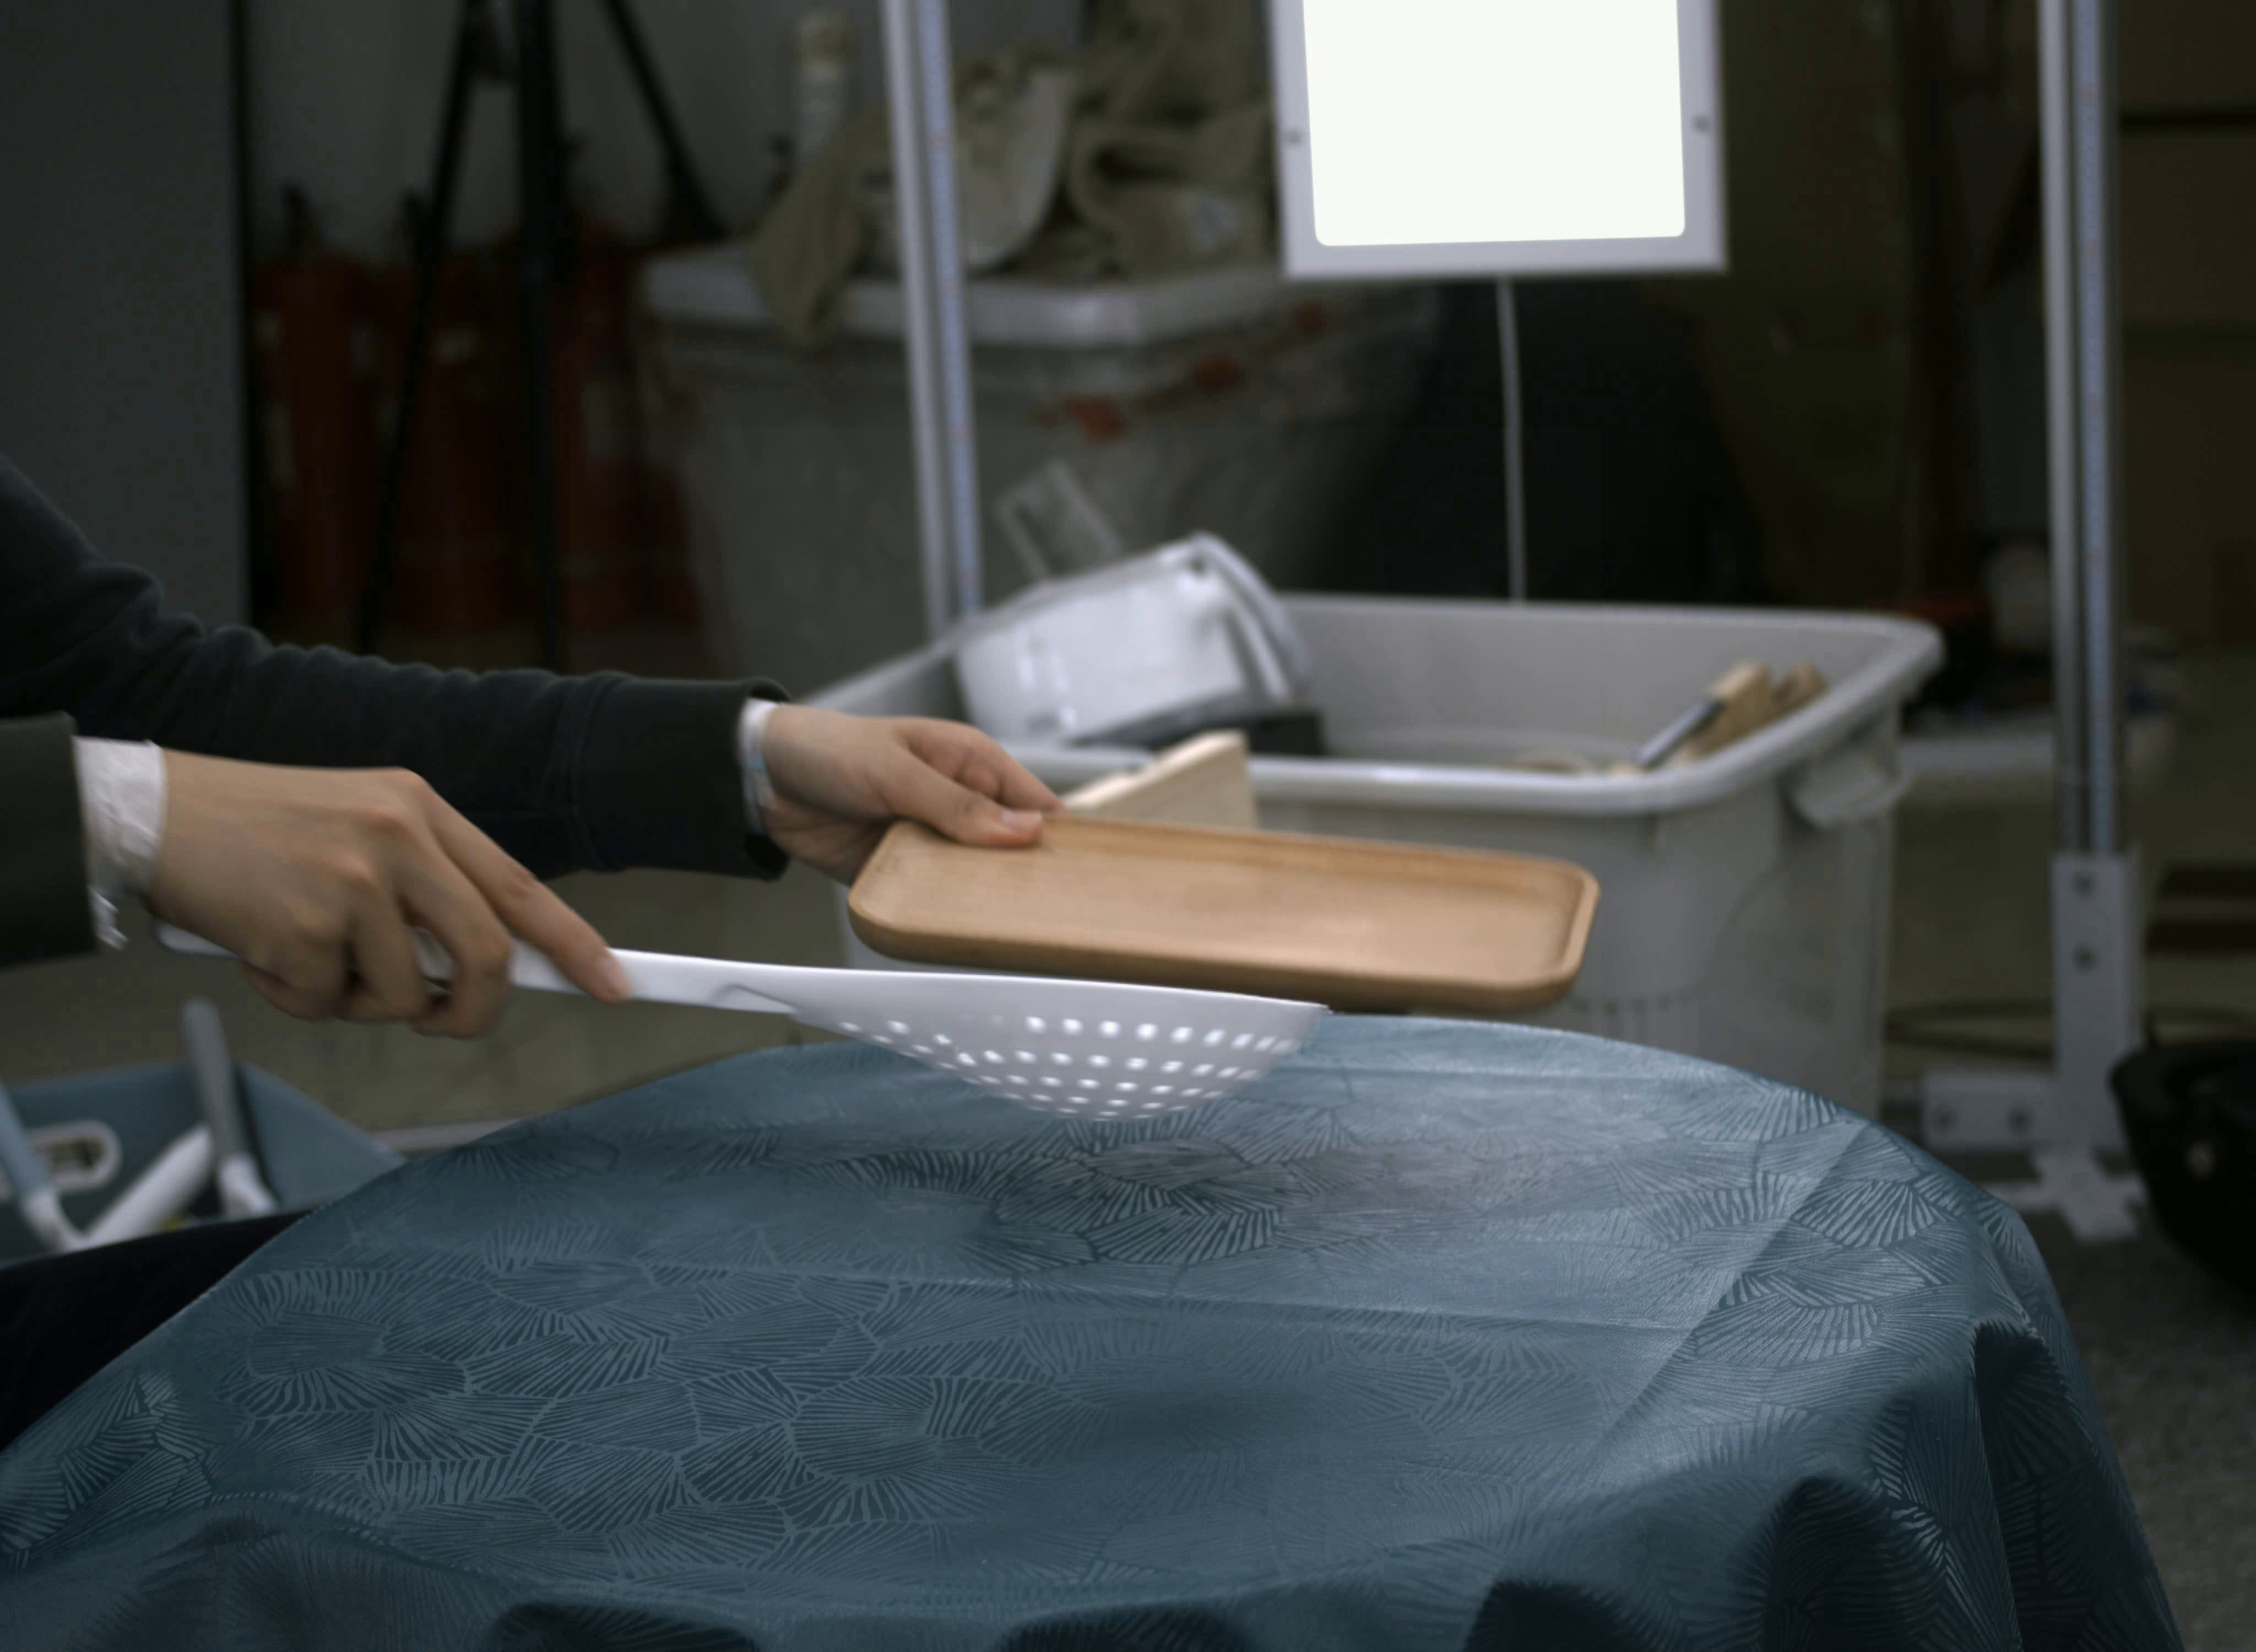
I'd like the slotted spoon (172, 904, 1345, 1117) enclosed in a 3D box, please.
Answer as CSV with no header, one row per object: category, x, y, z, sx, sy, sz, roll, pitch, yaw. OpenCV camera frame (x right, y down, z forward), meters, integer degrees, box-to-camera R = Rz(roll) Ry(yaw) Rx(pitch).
slotted spoon,-0.107,0.046,1.632,0.346,0.046,0.137,10,-5,-10

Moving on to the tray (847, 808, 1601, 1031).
tray,0.034,0.031,1.881,0.252,0.023,0.129,5,18,12
